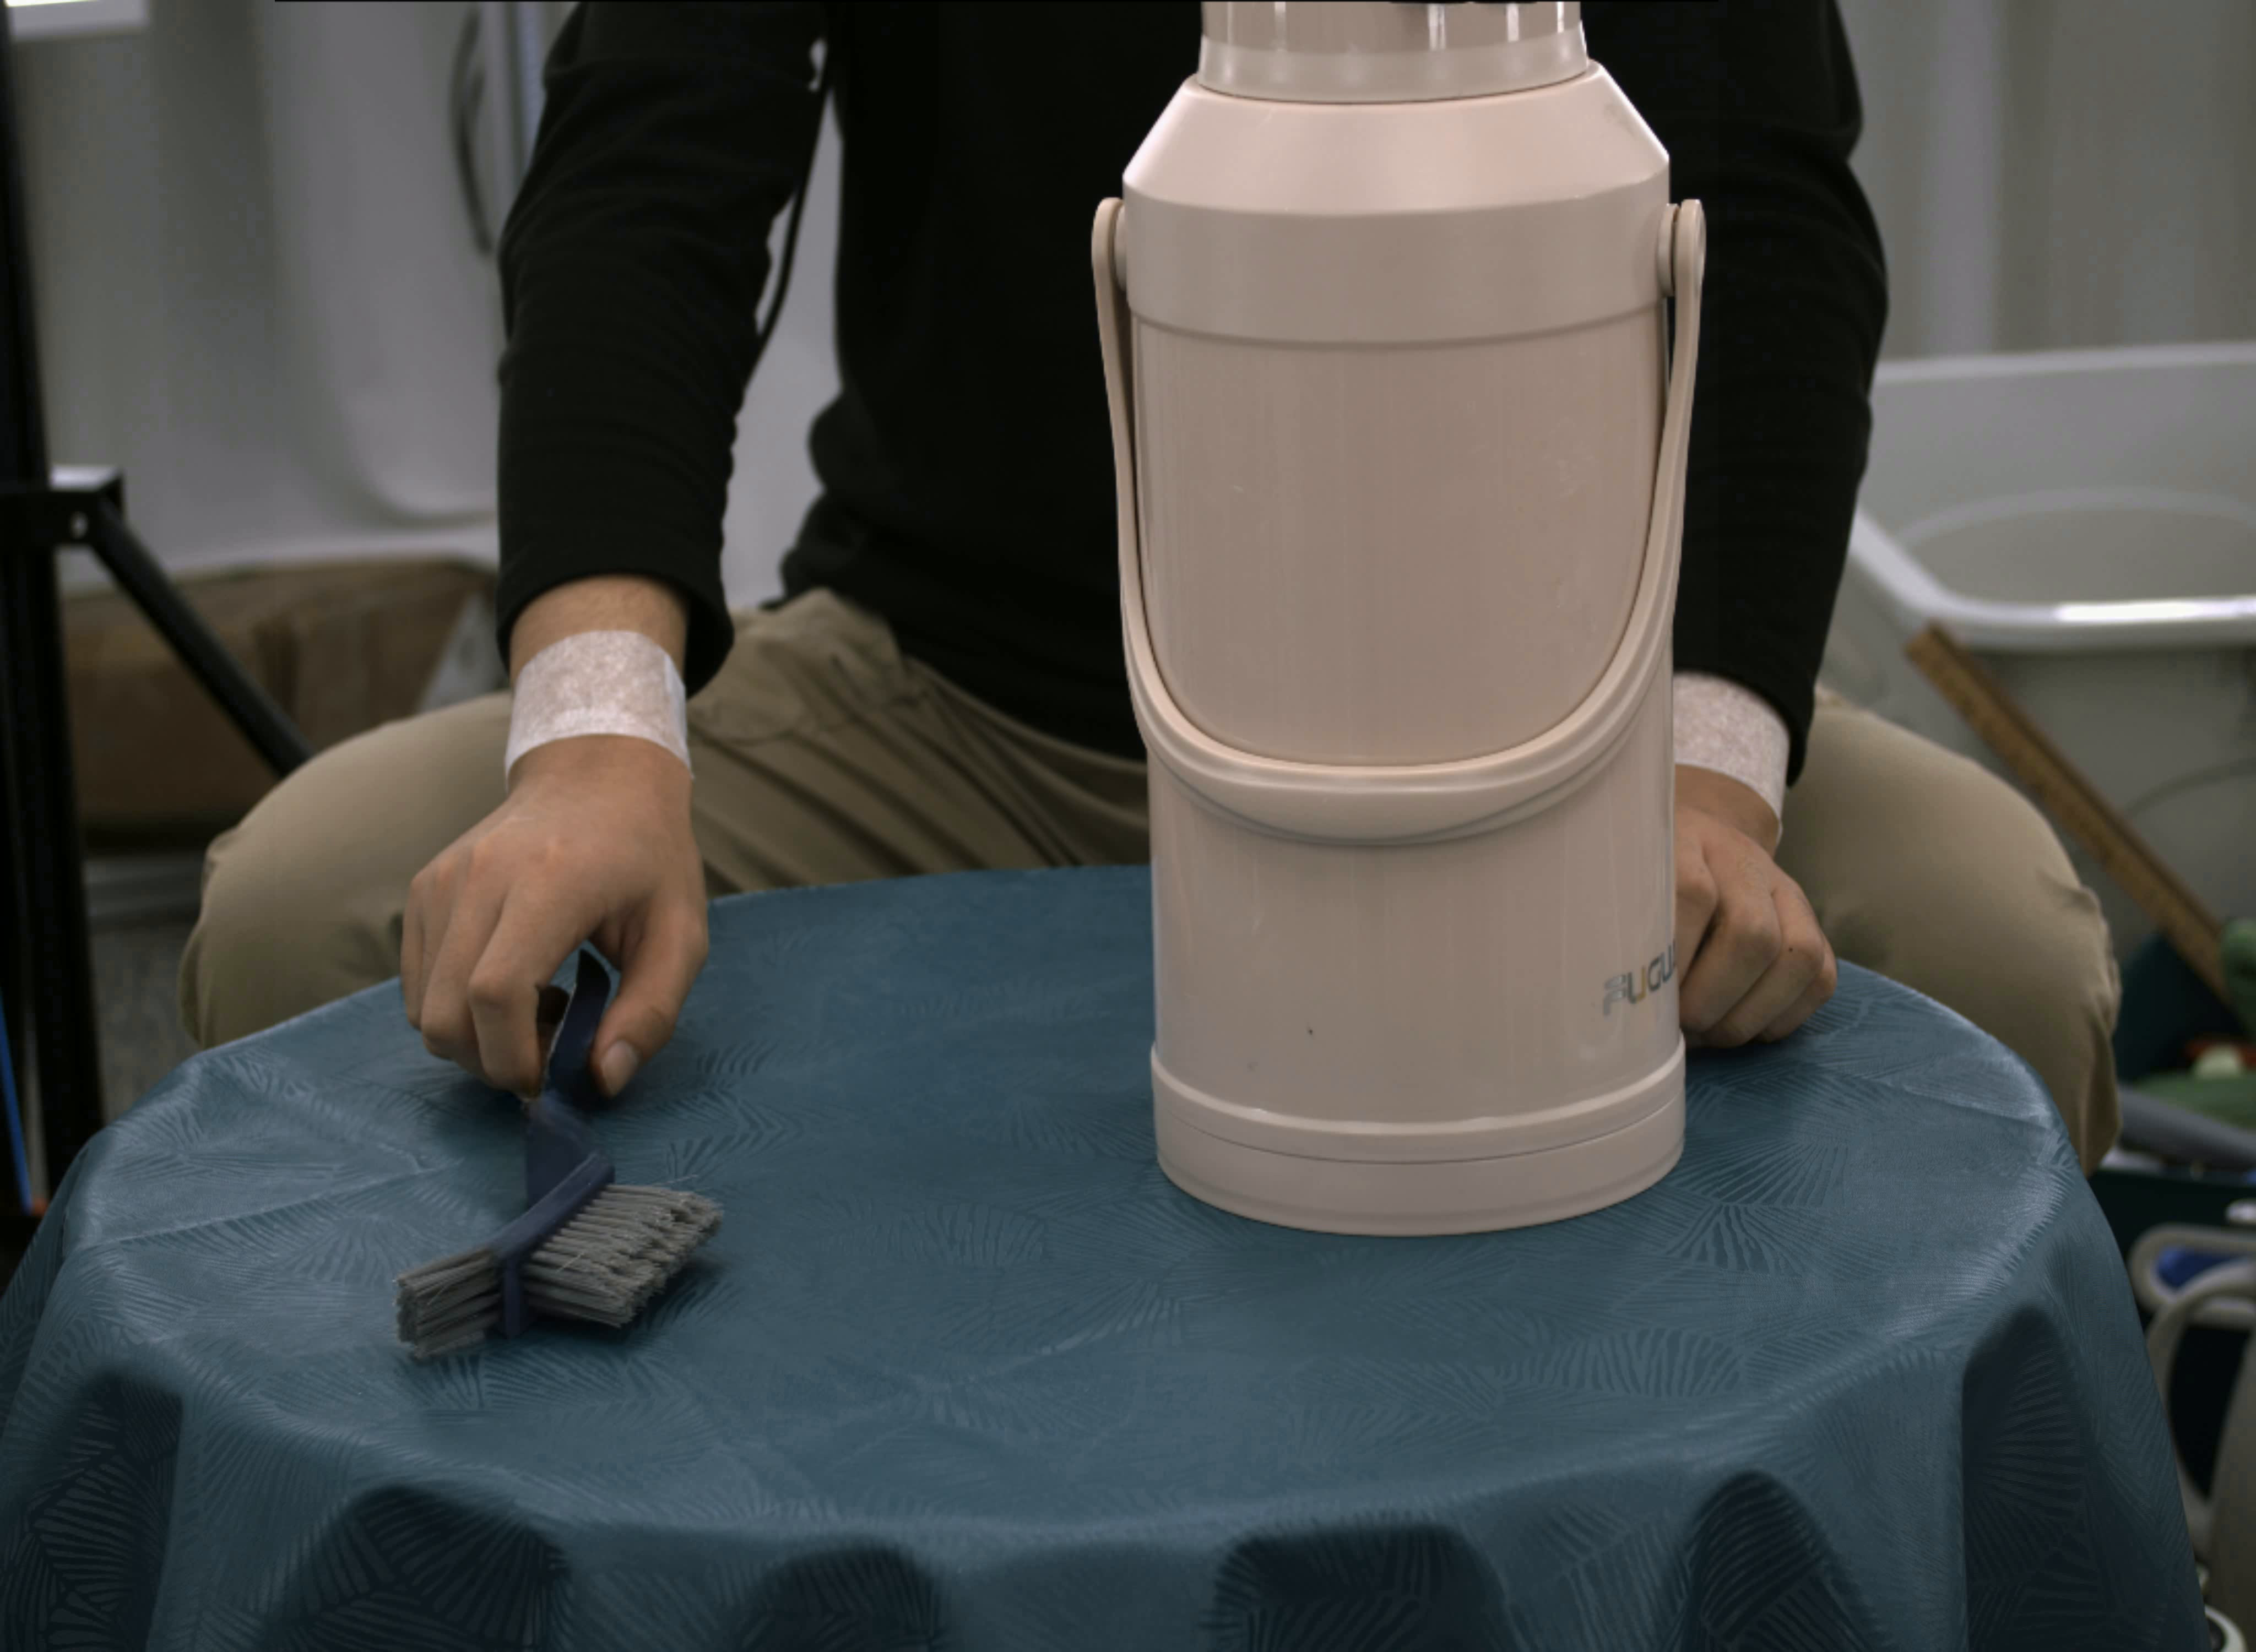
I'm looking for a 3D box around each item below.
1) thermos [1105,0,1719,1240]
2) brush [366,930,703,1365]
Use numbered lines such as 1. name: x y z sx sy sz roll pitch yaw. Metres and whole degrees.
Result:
1. thermos: 0.088 -0.098 1.545 0.176 0.406 0.205 0 15 15
2. brush: -0.177 0.092 1.583 0.095 0.033 0.276 -3 18 -6
